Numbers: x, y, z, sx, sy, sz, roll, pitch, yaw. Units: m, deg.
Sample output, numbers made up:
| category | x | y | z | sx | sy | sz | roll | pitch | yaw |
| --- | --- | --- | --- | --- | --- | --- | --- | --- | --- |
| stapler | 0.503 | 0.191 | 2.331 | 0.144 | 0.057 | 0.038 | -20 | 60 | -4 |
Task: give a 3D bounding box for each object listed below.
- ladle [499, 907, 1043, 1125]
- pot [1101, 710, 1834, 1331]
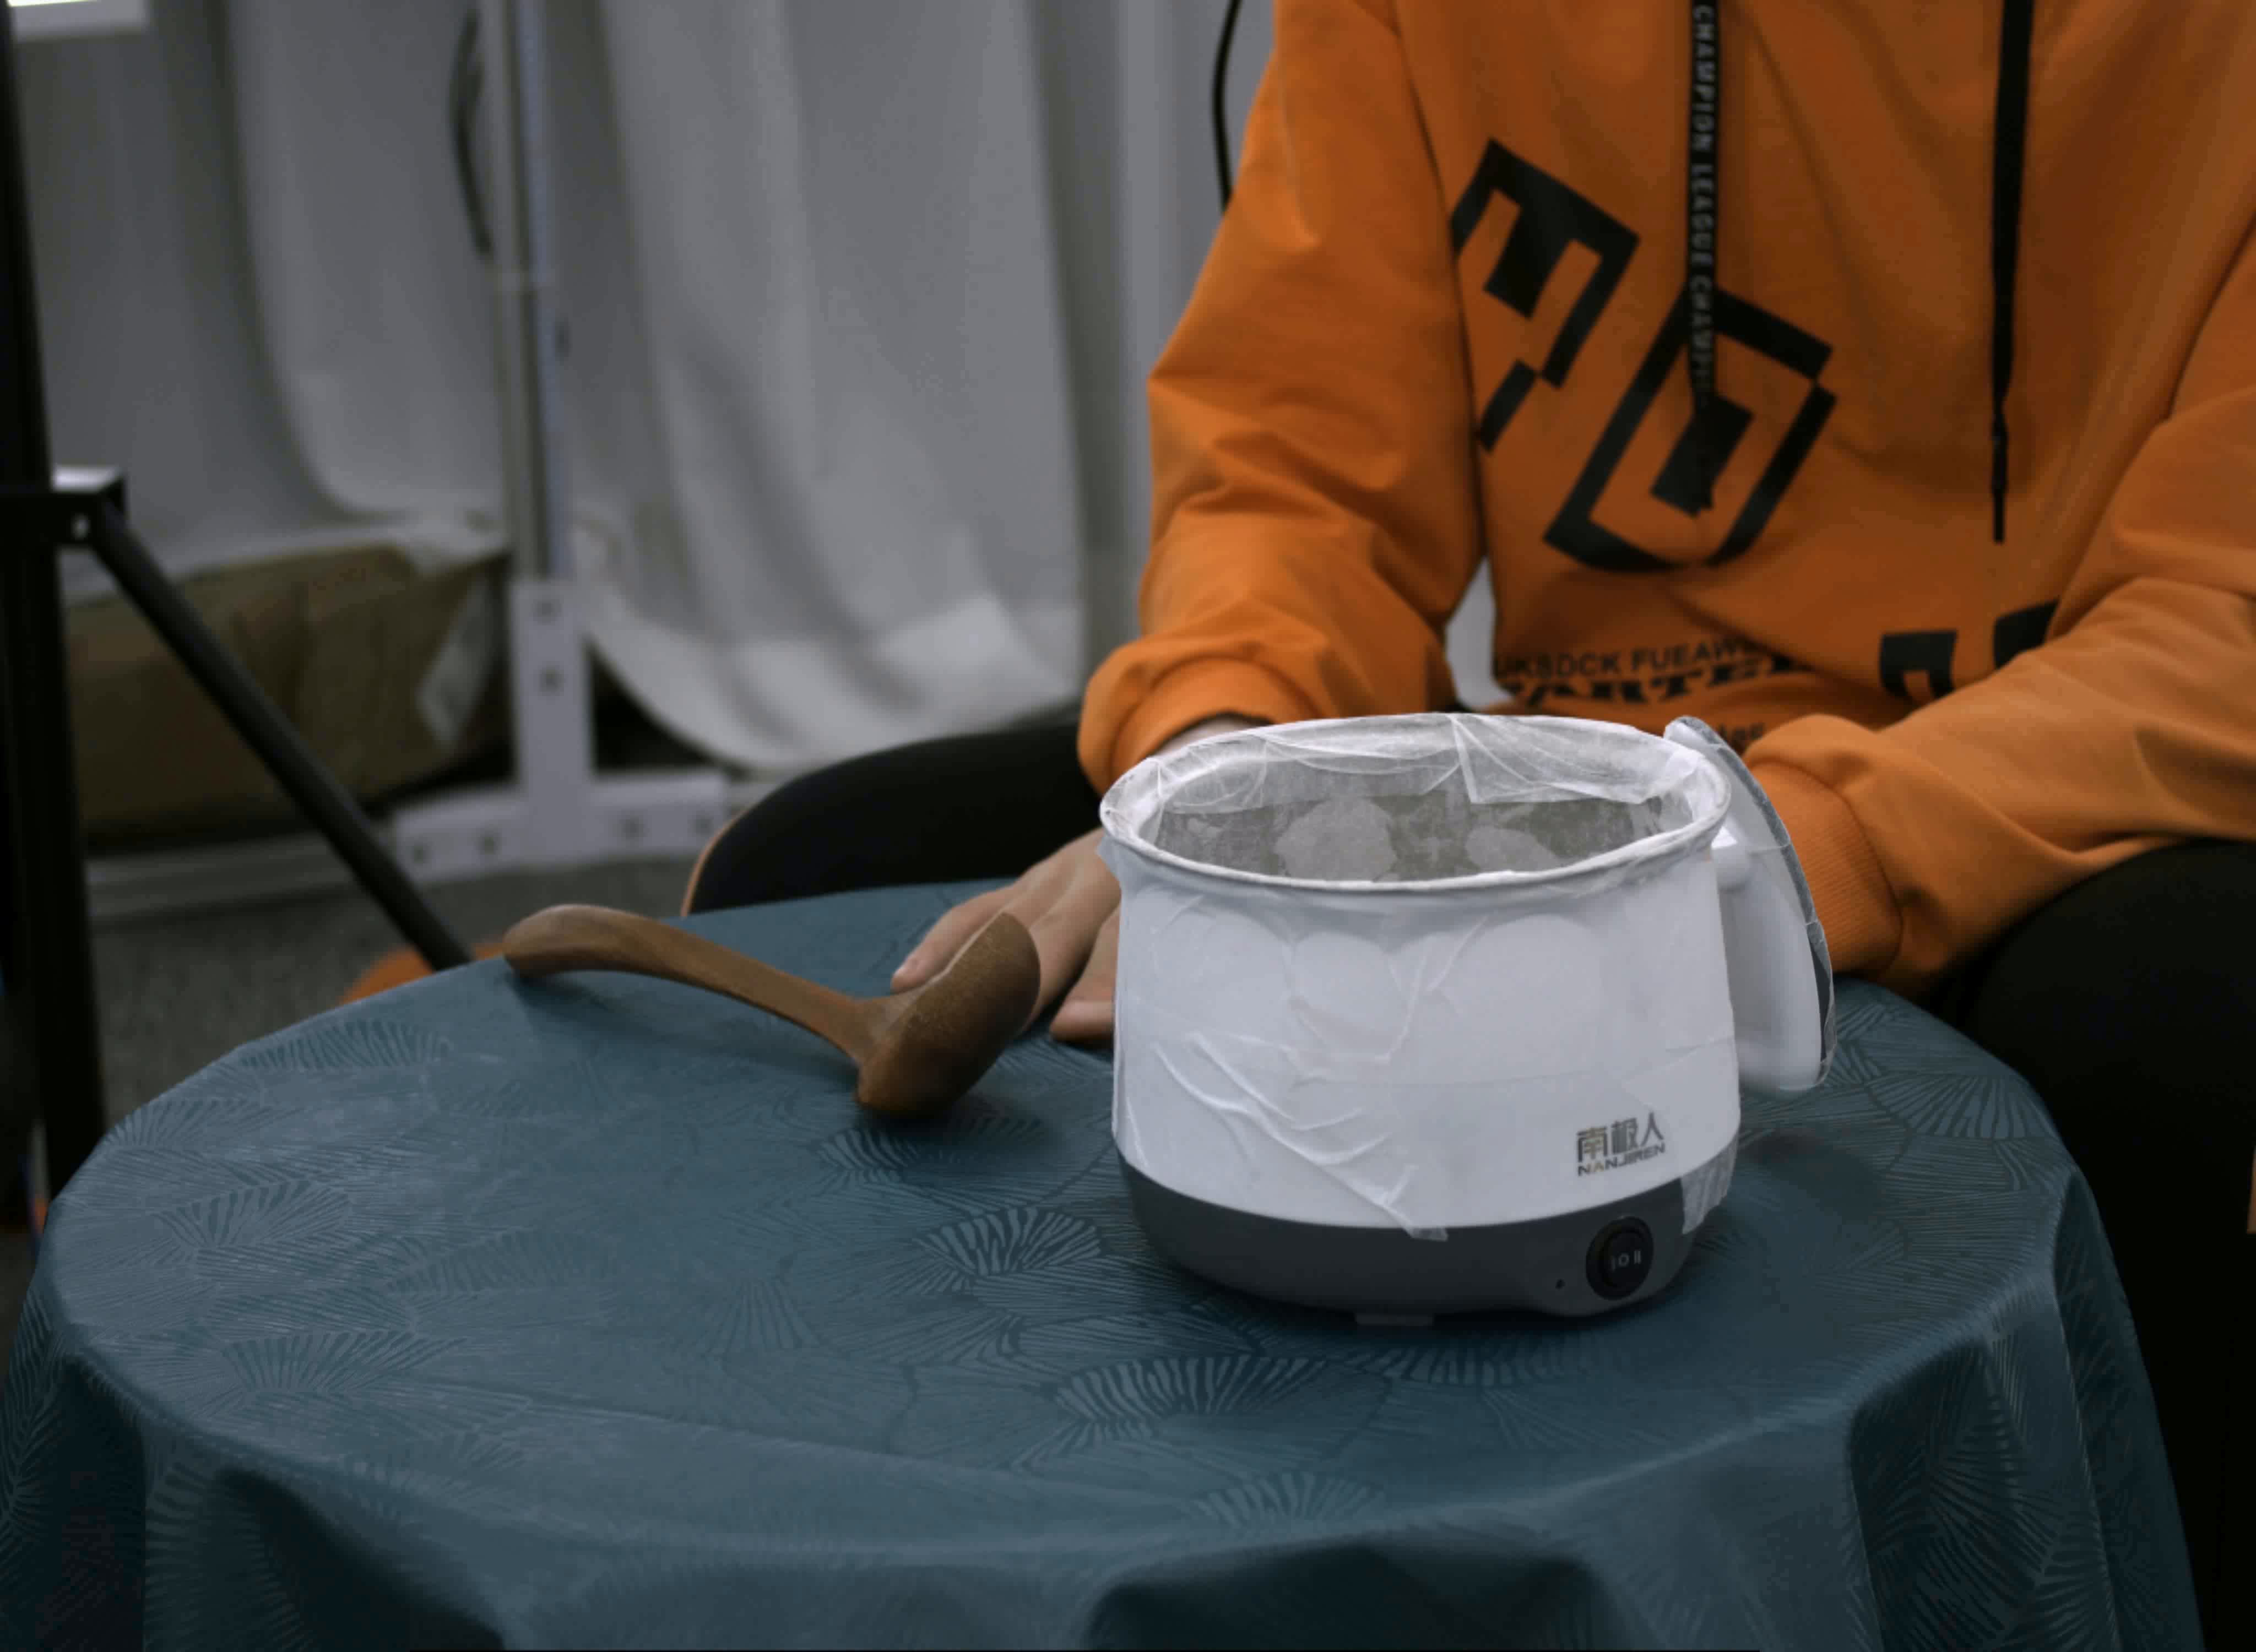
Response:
| category | x | y | z | sx | sy | sz | roll | pitch | yaw |
| --- | --- | --- | --- | --- | --- | --- | --- | --- | --- |
| ladle | -0.125 | 0.043 | 1.698 | 0.266 | 0.064 | 0.076 | 14 | 49 | 45 |
| pot | 0.105 | 0.047 | 1.503 | 0.228 | 0.136 | 0.183 | -13 | 19 | -33 |
